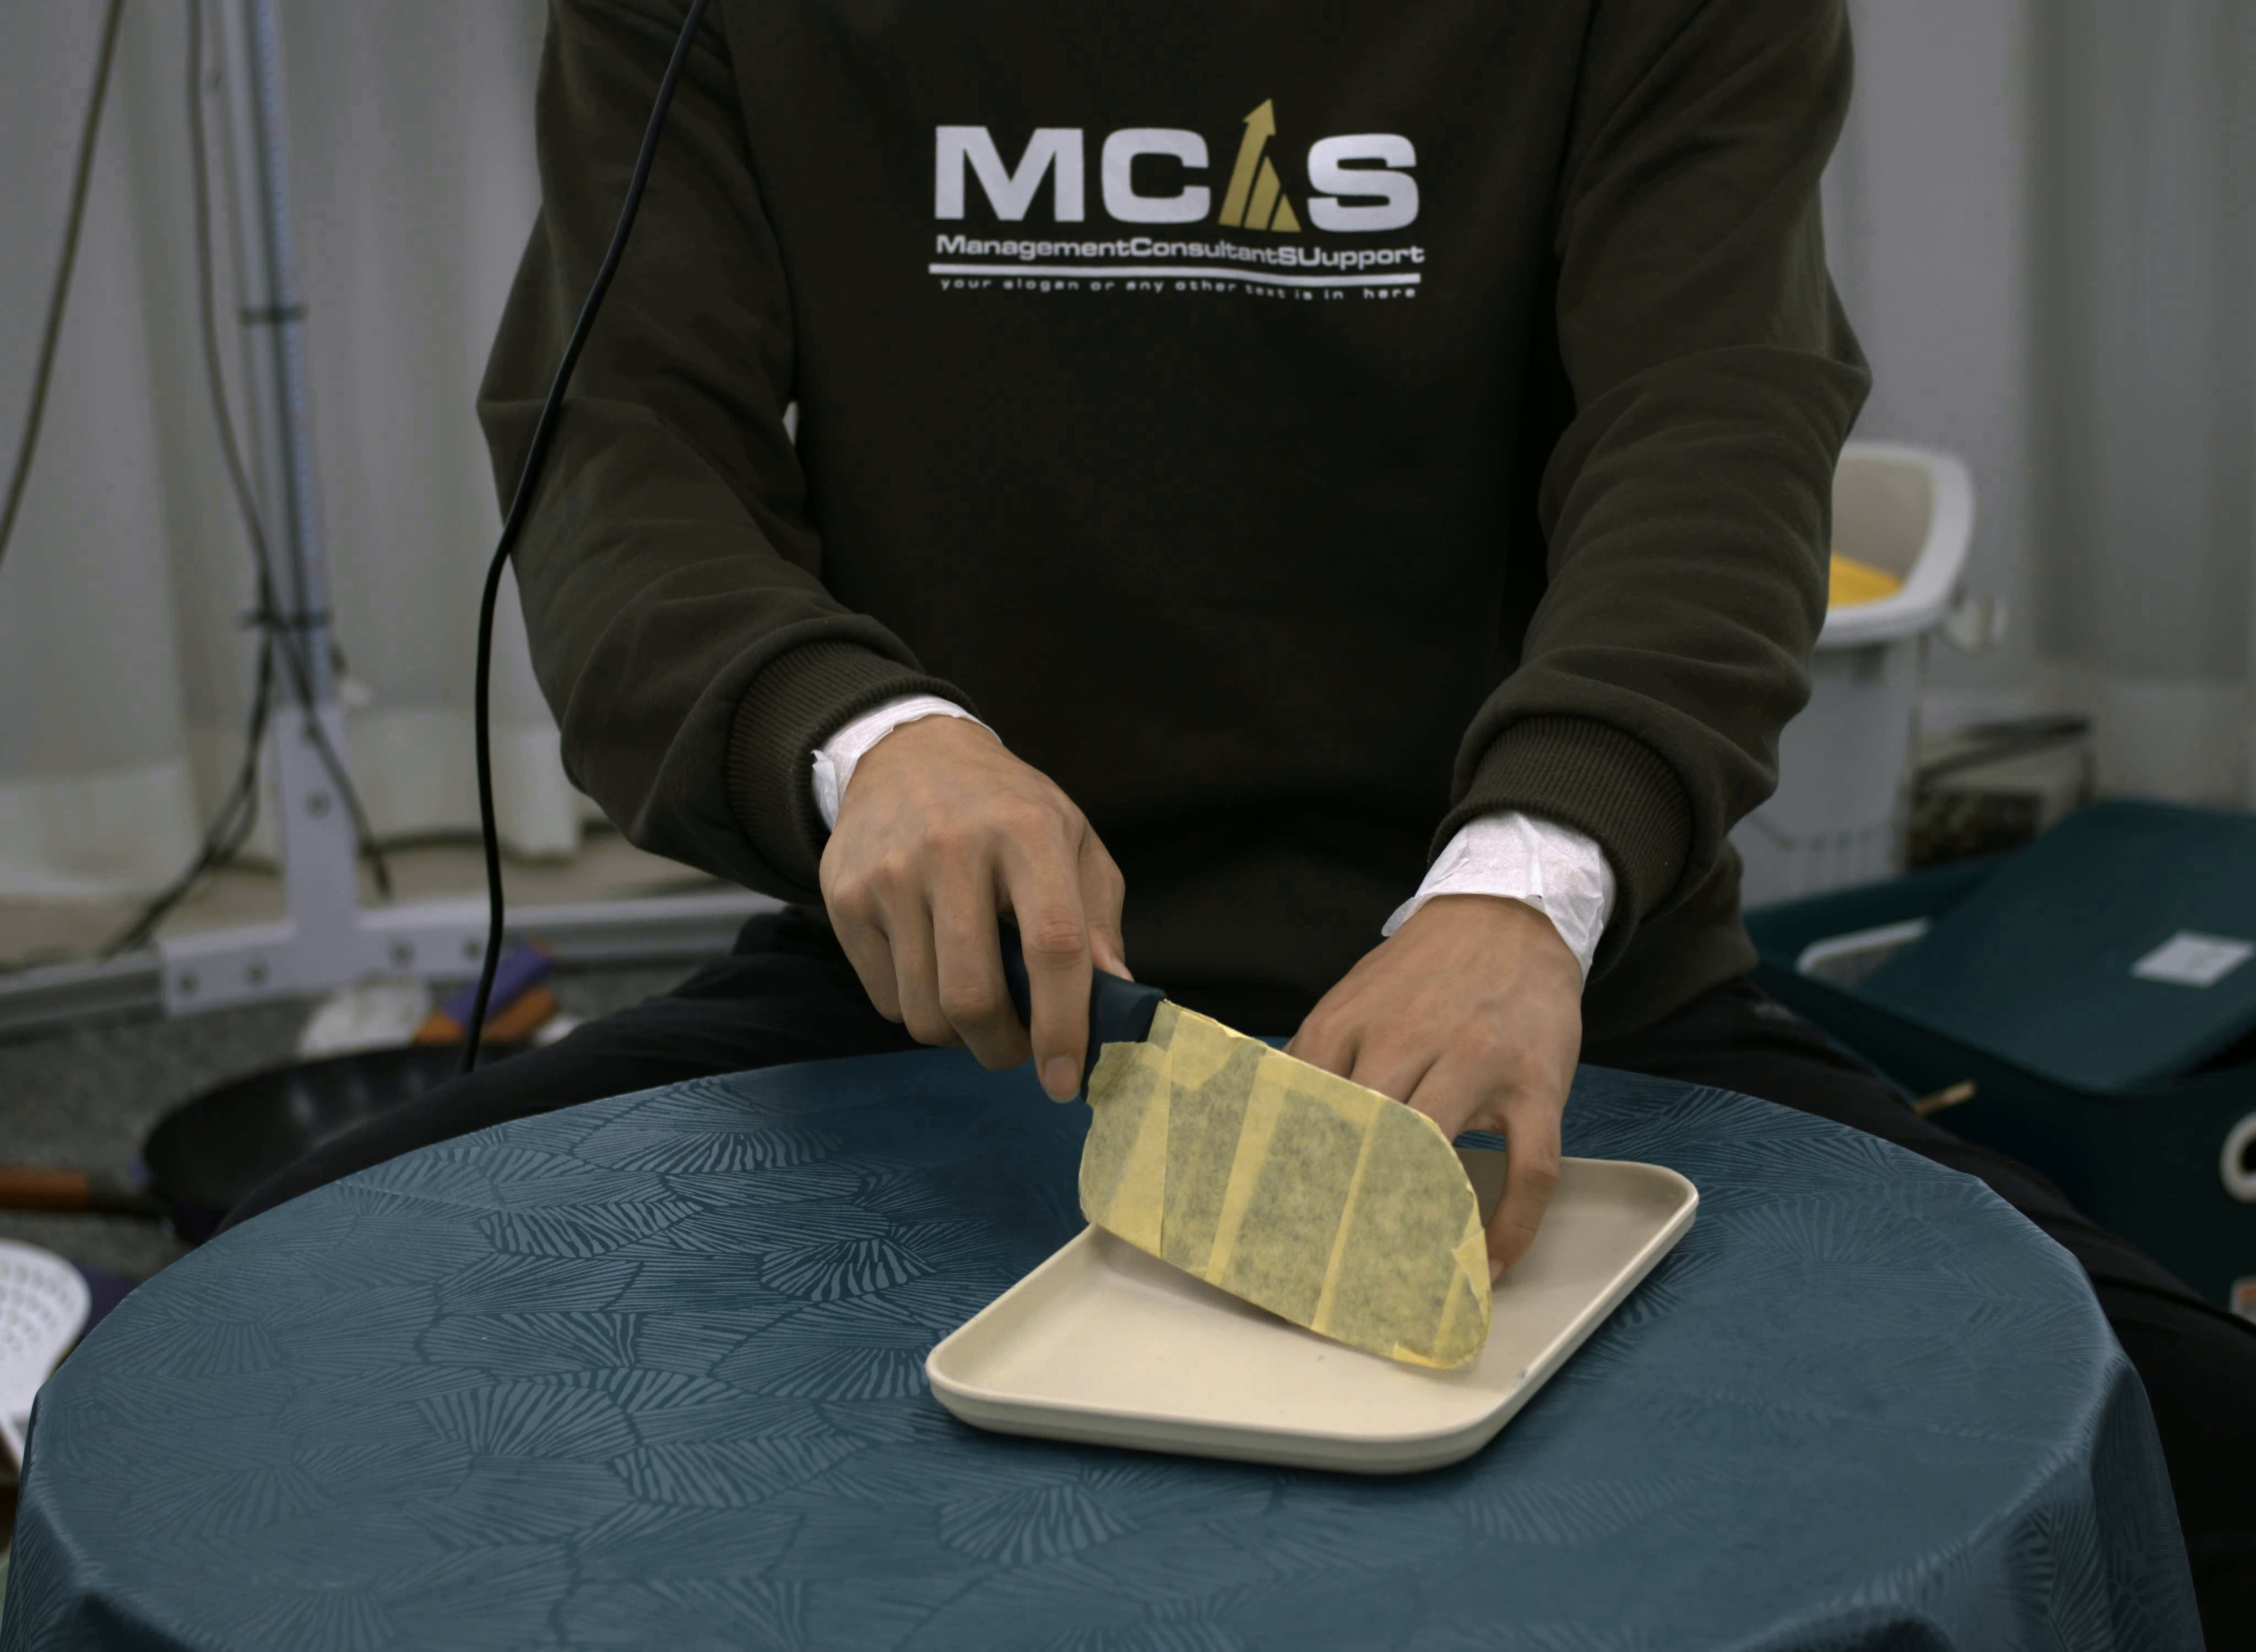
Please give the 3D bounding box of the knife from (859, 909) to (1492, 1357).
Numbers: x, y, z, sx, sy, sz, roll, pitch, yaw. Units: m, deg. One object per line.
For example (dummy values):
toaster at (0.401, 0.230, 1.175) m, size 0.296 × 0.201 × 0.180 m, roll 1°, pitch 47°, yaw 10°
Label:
knife at (0.009, 0.087, 1.624) m, size 0.027 × 0.081 × 0.292 m, roll 13°, pitch 10°, yaw -44°

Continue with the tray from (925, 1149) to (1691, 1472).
tray at (0.057, 0.137, 1.587) m, size 0.171 × 0.017 × 0.240 m, roll 3°, pitch 16°, yaw 23°
